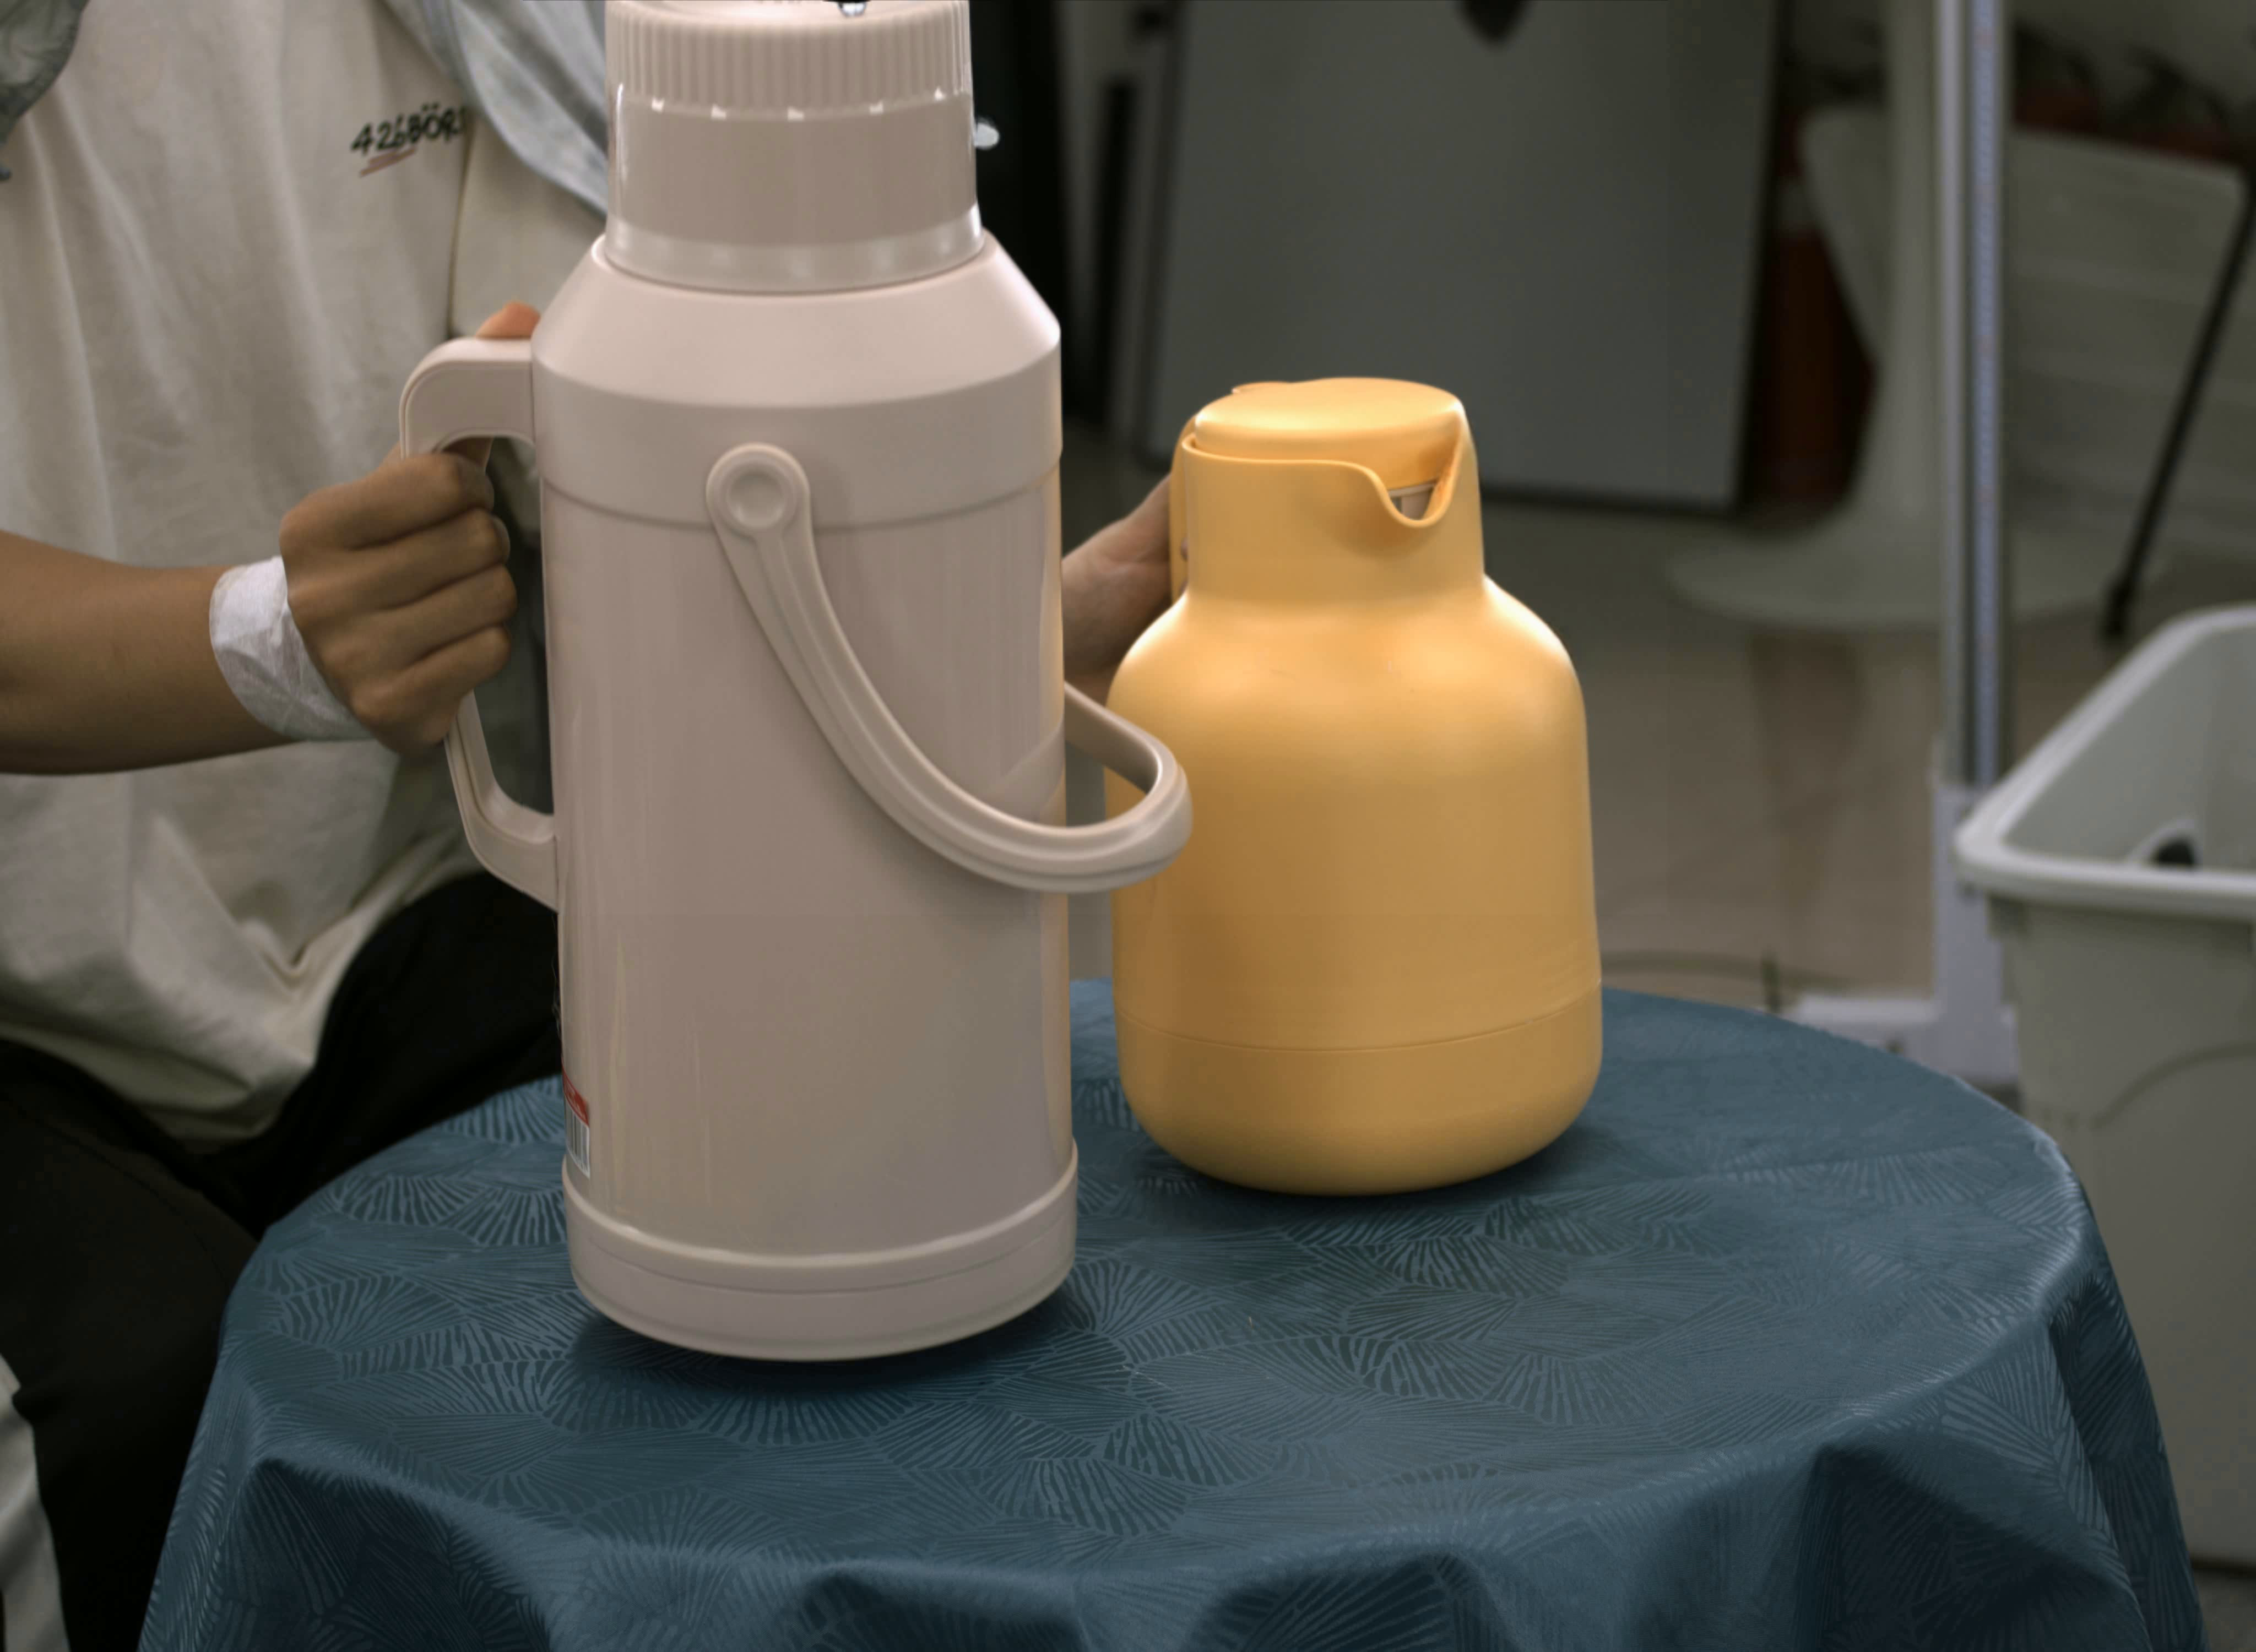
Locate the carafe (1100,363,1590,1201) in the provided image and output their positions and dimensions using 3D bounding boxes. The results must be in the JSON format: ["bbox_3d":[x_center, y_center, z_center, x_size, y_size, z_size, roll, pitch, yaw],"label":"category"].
[{"bbox_3d":[0.065,-0.022,1.790,0.160,0.263,0.204,-6,14,-17],"label":"carafe"}]

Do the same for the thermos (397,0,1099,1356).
[{"bbox_3d":[-0.111,-0.058,1.607,0.205,0.410,0.175,2,20,6],"label":"thermos"}]
